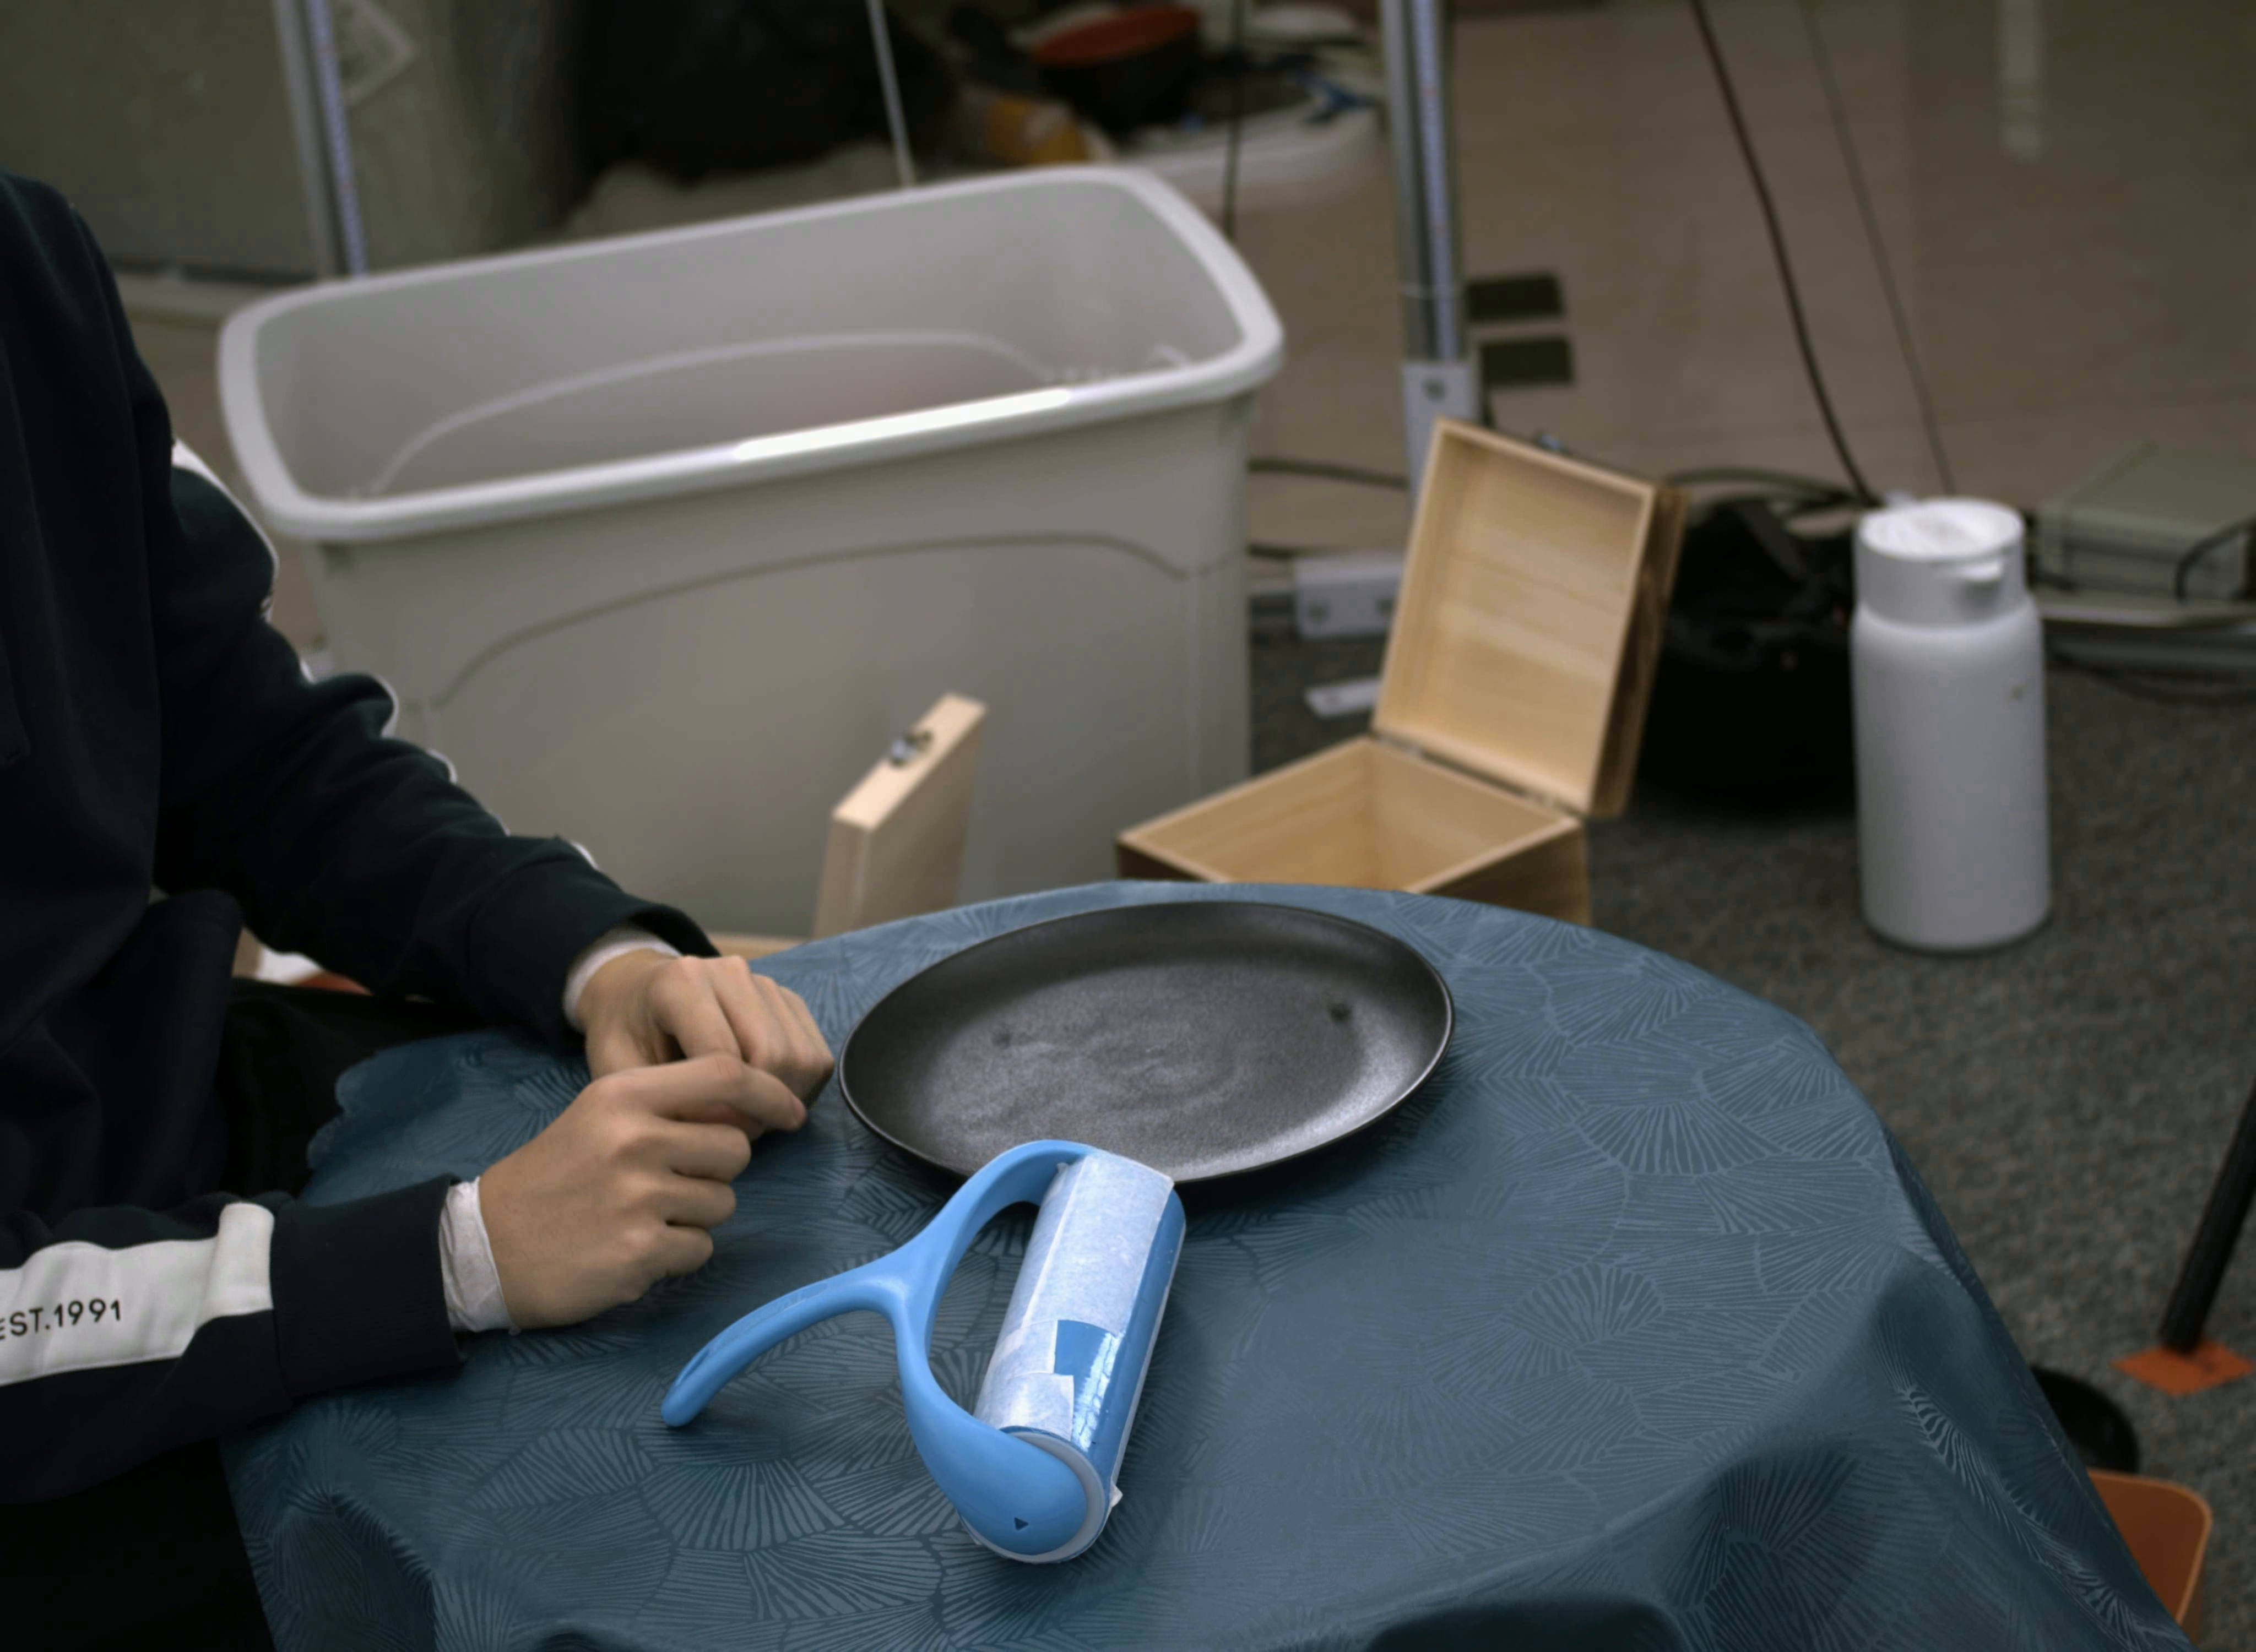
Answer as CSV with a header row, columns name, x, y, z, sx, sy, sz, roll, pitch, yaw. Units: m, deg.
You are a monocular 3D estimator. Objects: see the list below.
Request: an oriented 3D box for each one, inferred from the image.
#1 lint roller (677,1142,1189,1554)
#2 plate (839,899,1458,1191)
name,x,y,z,sx,sy,sz,roll,pitch,yaw
lint roller,-0.076,0.185,1.996,0.180,0.069,0.225,-4,25,8
plate,0.008,0.091,2.217,0.244,0.024,0.241,-6,25,3
